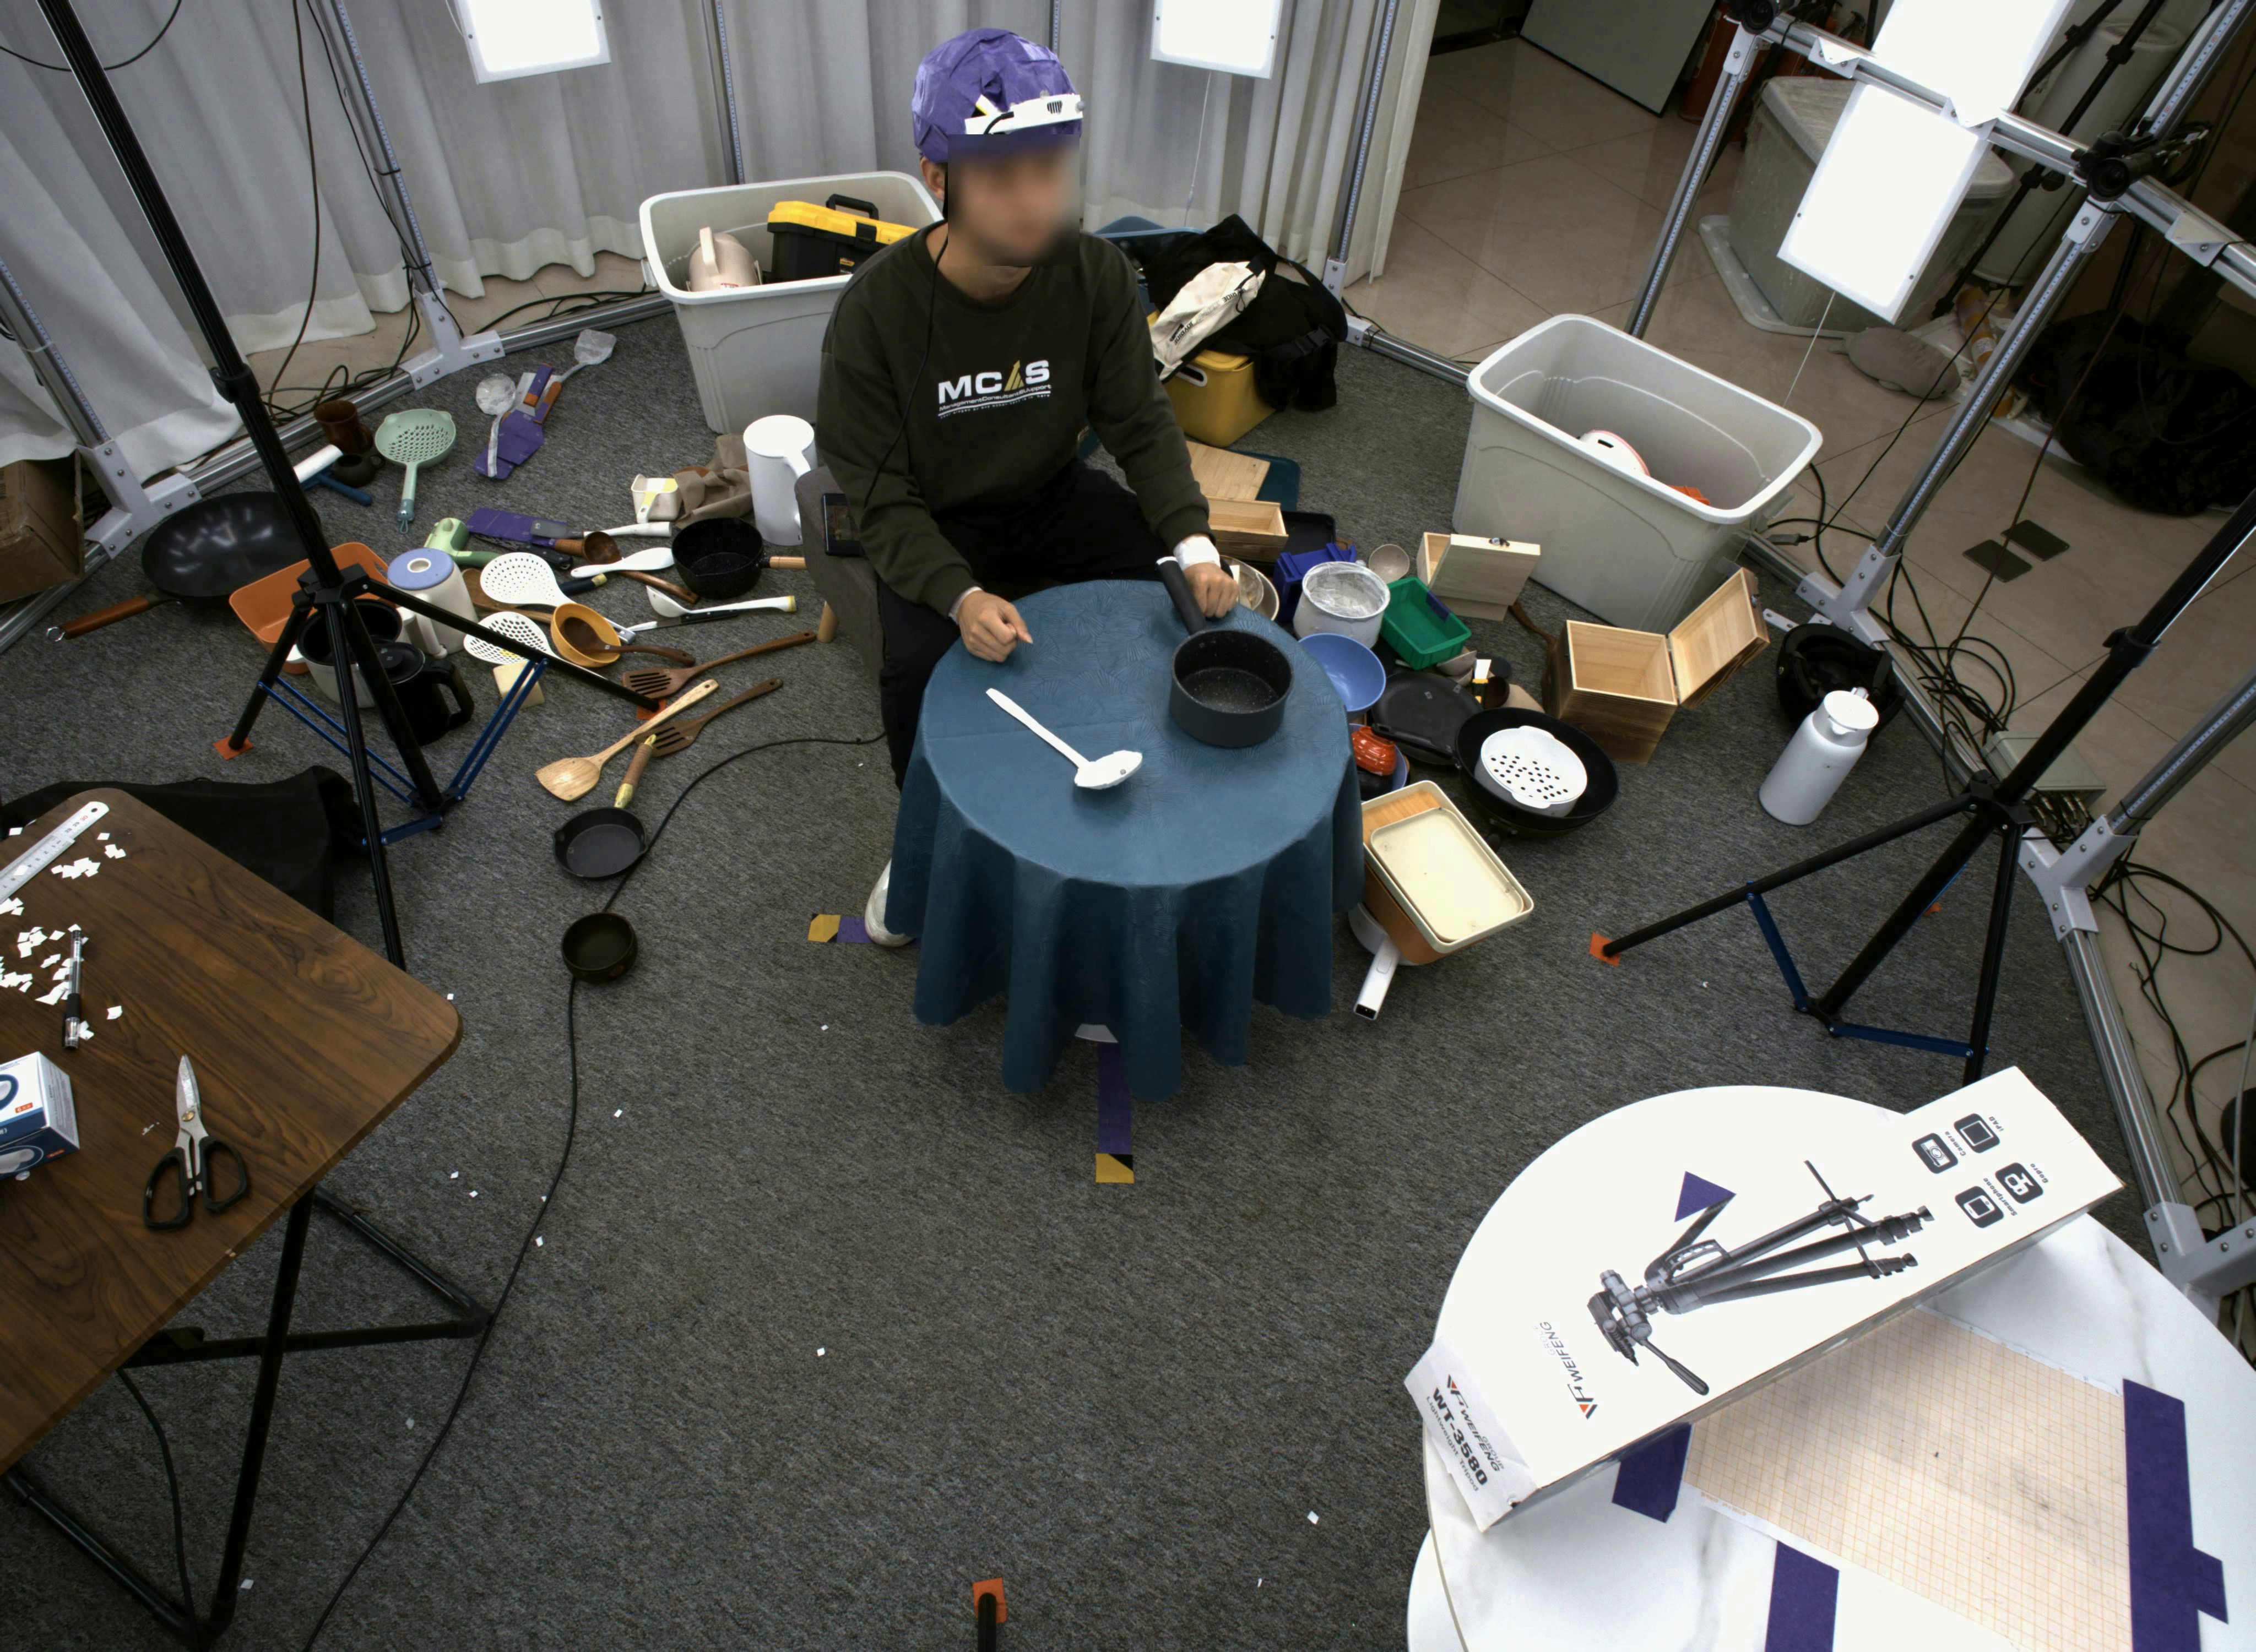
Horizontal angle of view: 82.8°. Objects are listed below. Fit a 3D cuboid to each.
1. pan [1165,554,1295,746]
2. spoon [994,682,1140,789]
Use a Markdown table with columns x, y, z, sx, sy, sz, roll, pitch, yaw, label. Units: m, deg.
| x | y | z | sx | sy | sz | roll | pitch | yaw | label |
| --- | --- | --- | --- | --- | --- | --- | --- | --- | --- |
| 0.117 | -0.254 | 1.841 | 0.172 | 0.084 | 0.337 | -11 | 52 | -15 | pan |
| -0.091 | -0.137 | 1.745 | 0.101 | 0.058 | 0.282 | -30 | 57 | -29 | spoon |
